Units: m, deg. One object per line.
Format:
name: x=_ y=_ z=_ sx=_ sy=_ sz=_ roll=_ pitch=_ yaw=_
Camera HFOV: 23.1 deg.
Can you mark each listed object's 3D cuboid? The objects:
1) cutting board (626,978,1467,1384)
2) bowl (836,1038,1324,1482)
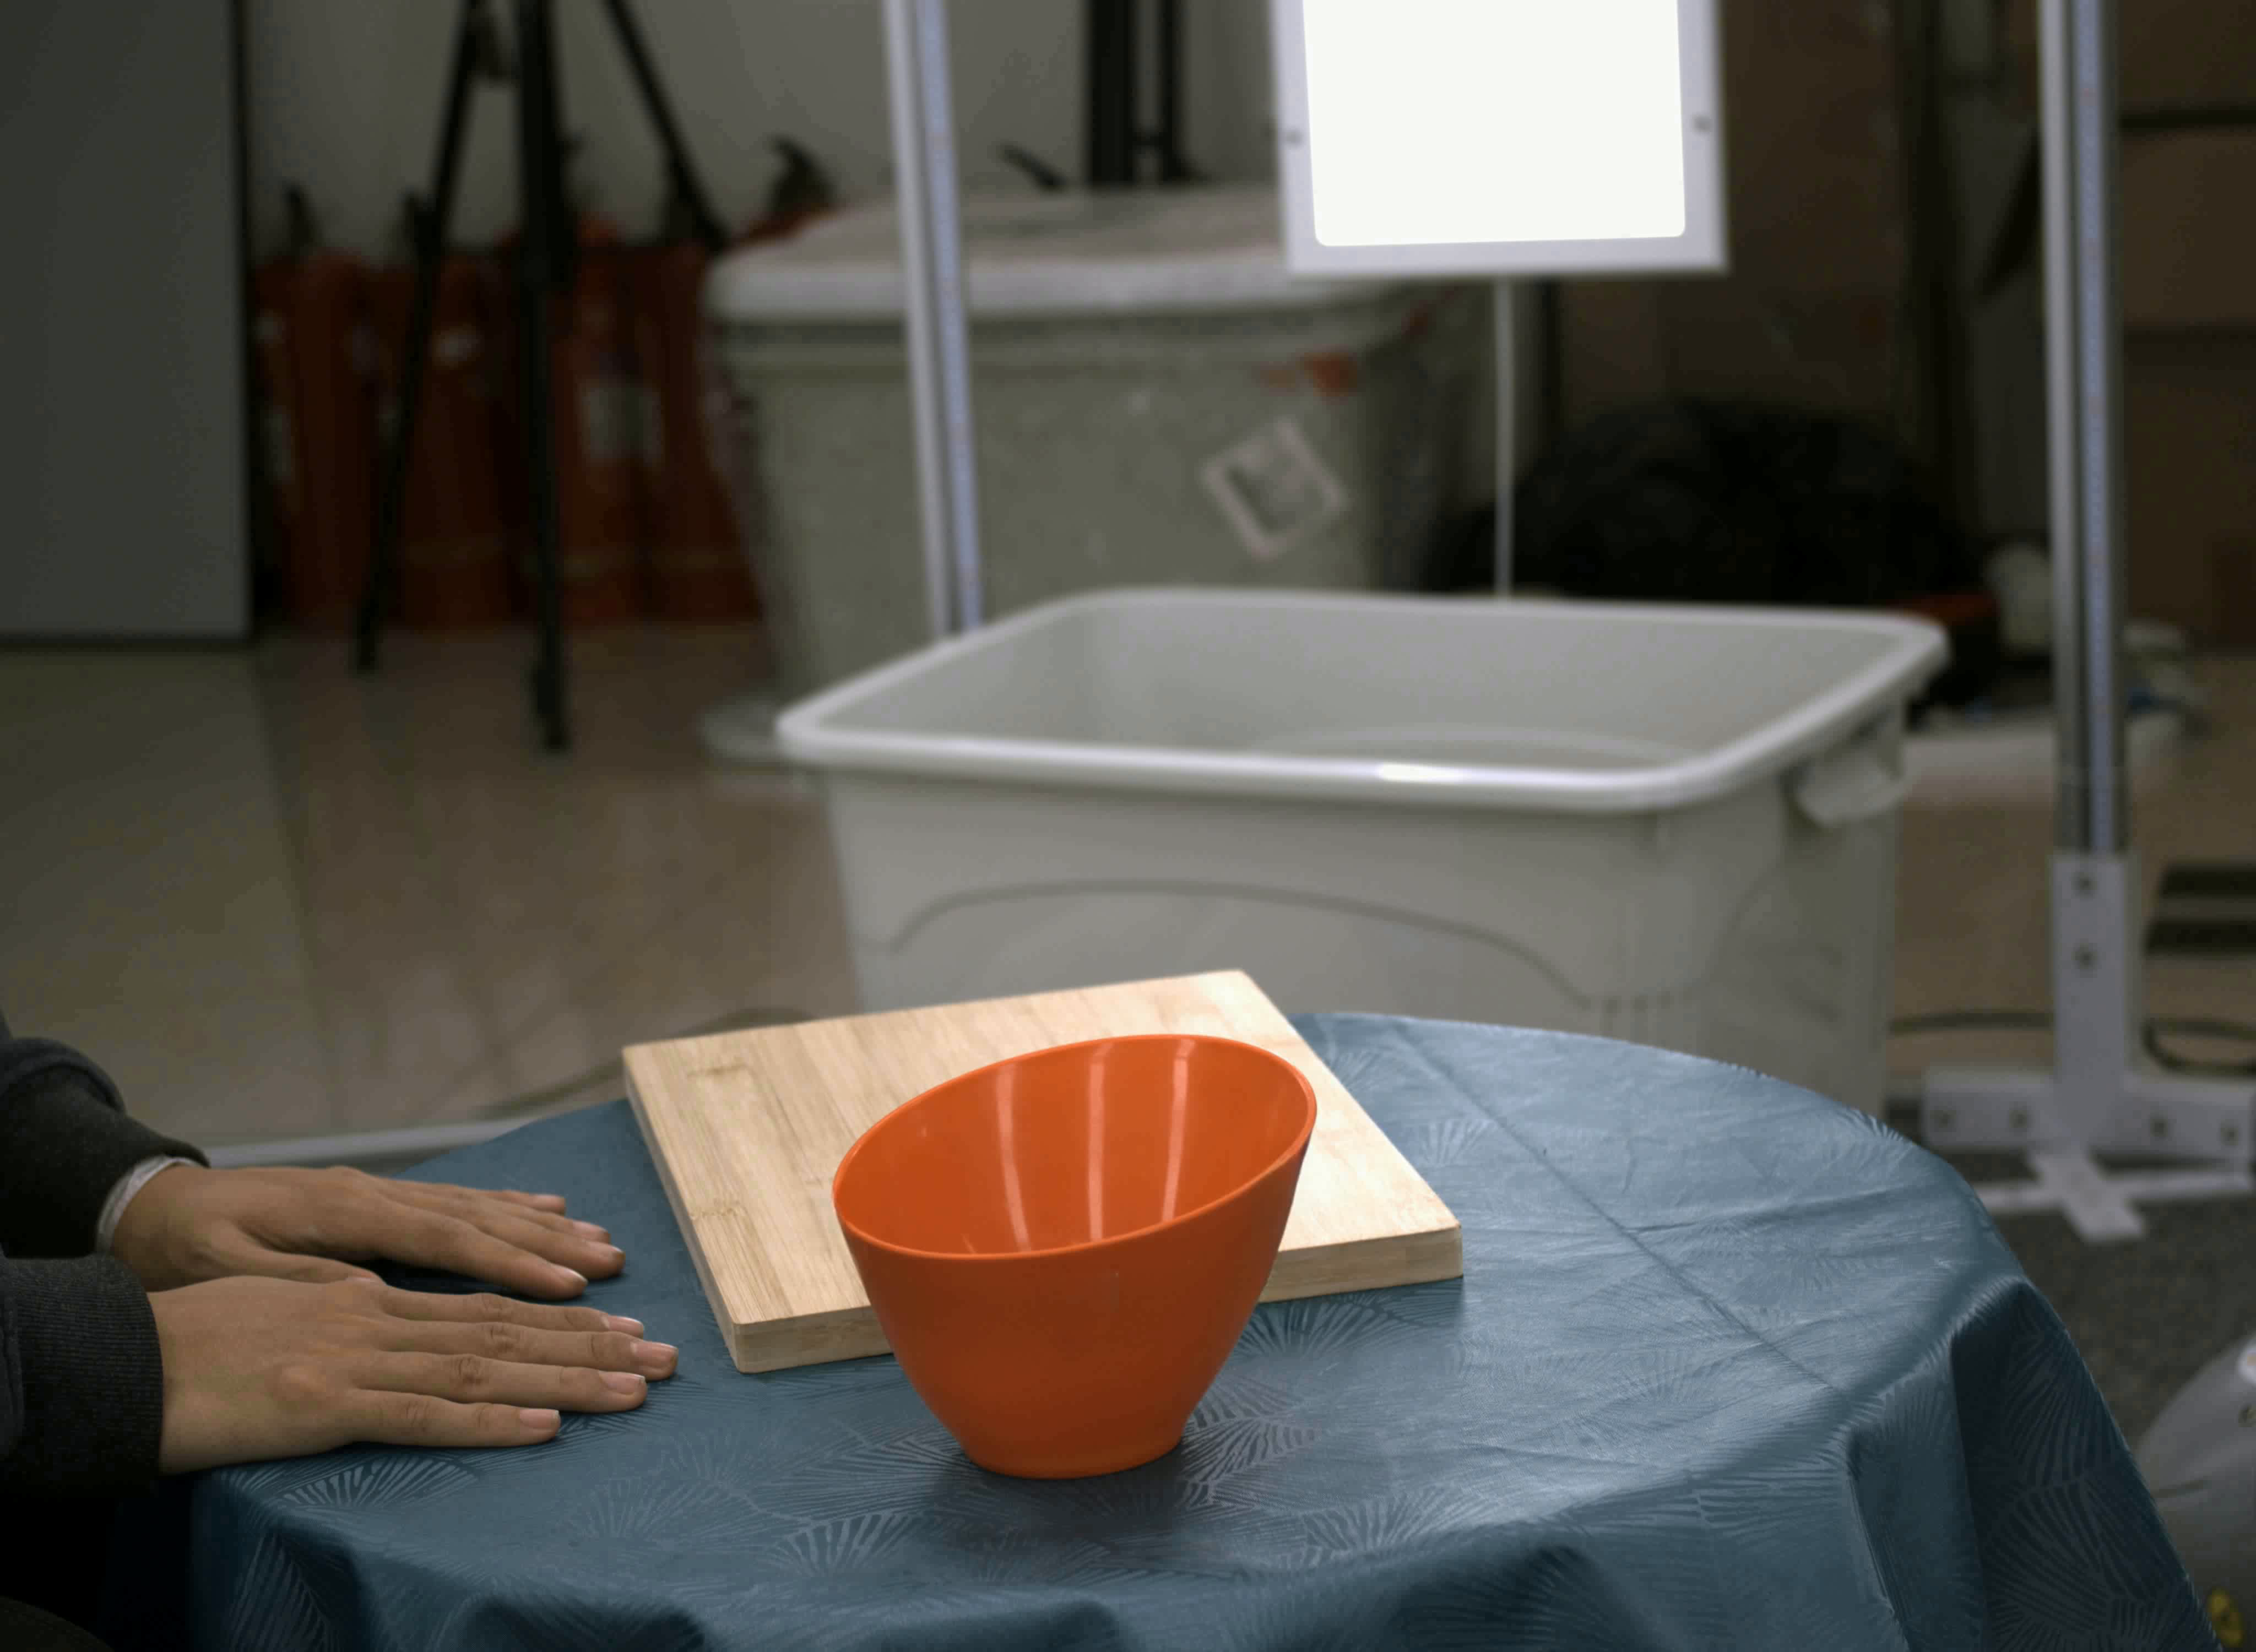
cutting board: x=-0.039 y=0.117 z=1.917 sx=0.248 sy=0.023 sz=0.351 roll=-8 pitch=14 yaw=-9
bowl: x=-0.012 y=0.134 z=1.656 sx=0.147 sy=0.105 sz=0.148 roll=-4 pitch=15 yaw=0
